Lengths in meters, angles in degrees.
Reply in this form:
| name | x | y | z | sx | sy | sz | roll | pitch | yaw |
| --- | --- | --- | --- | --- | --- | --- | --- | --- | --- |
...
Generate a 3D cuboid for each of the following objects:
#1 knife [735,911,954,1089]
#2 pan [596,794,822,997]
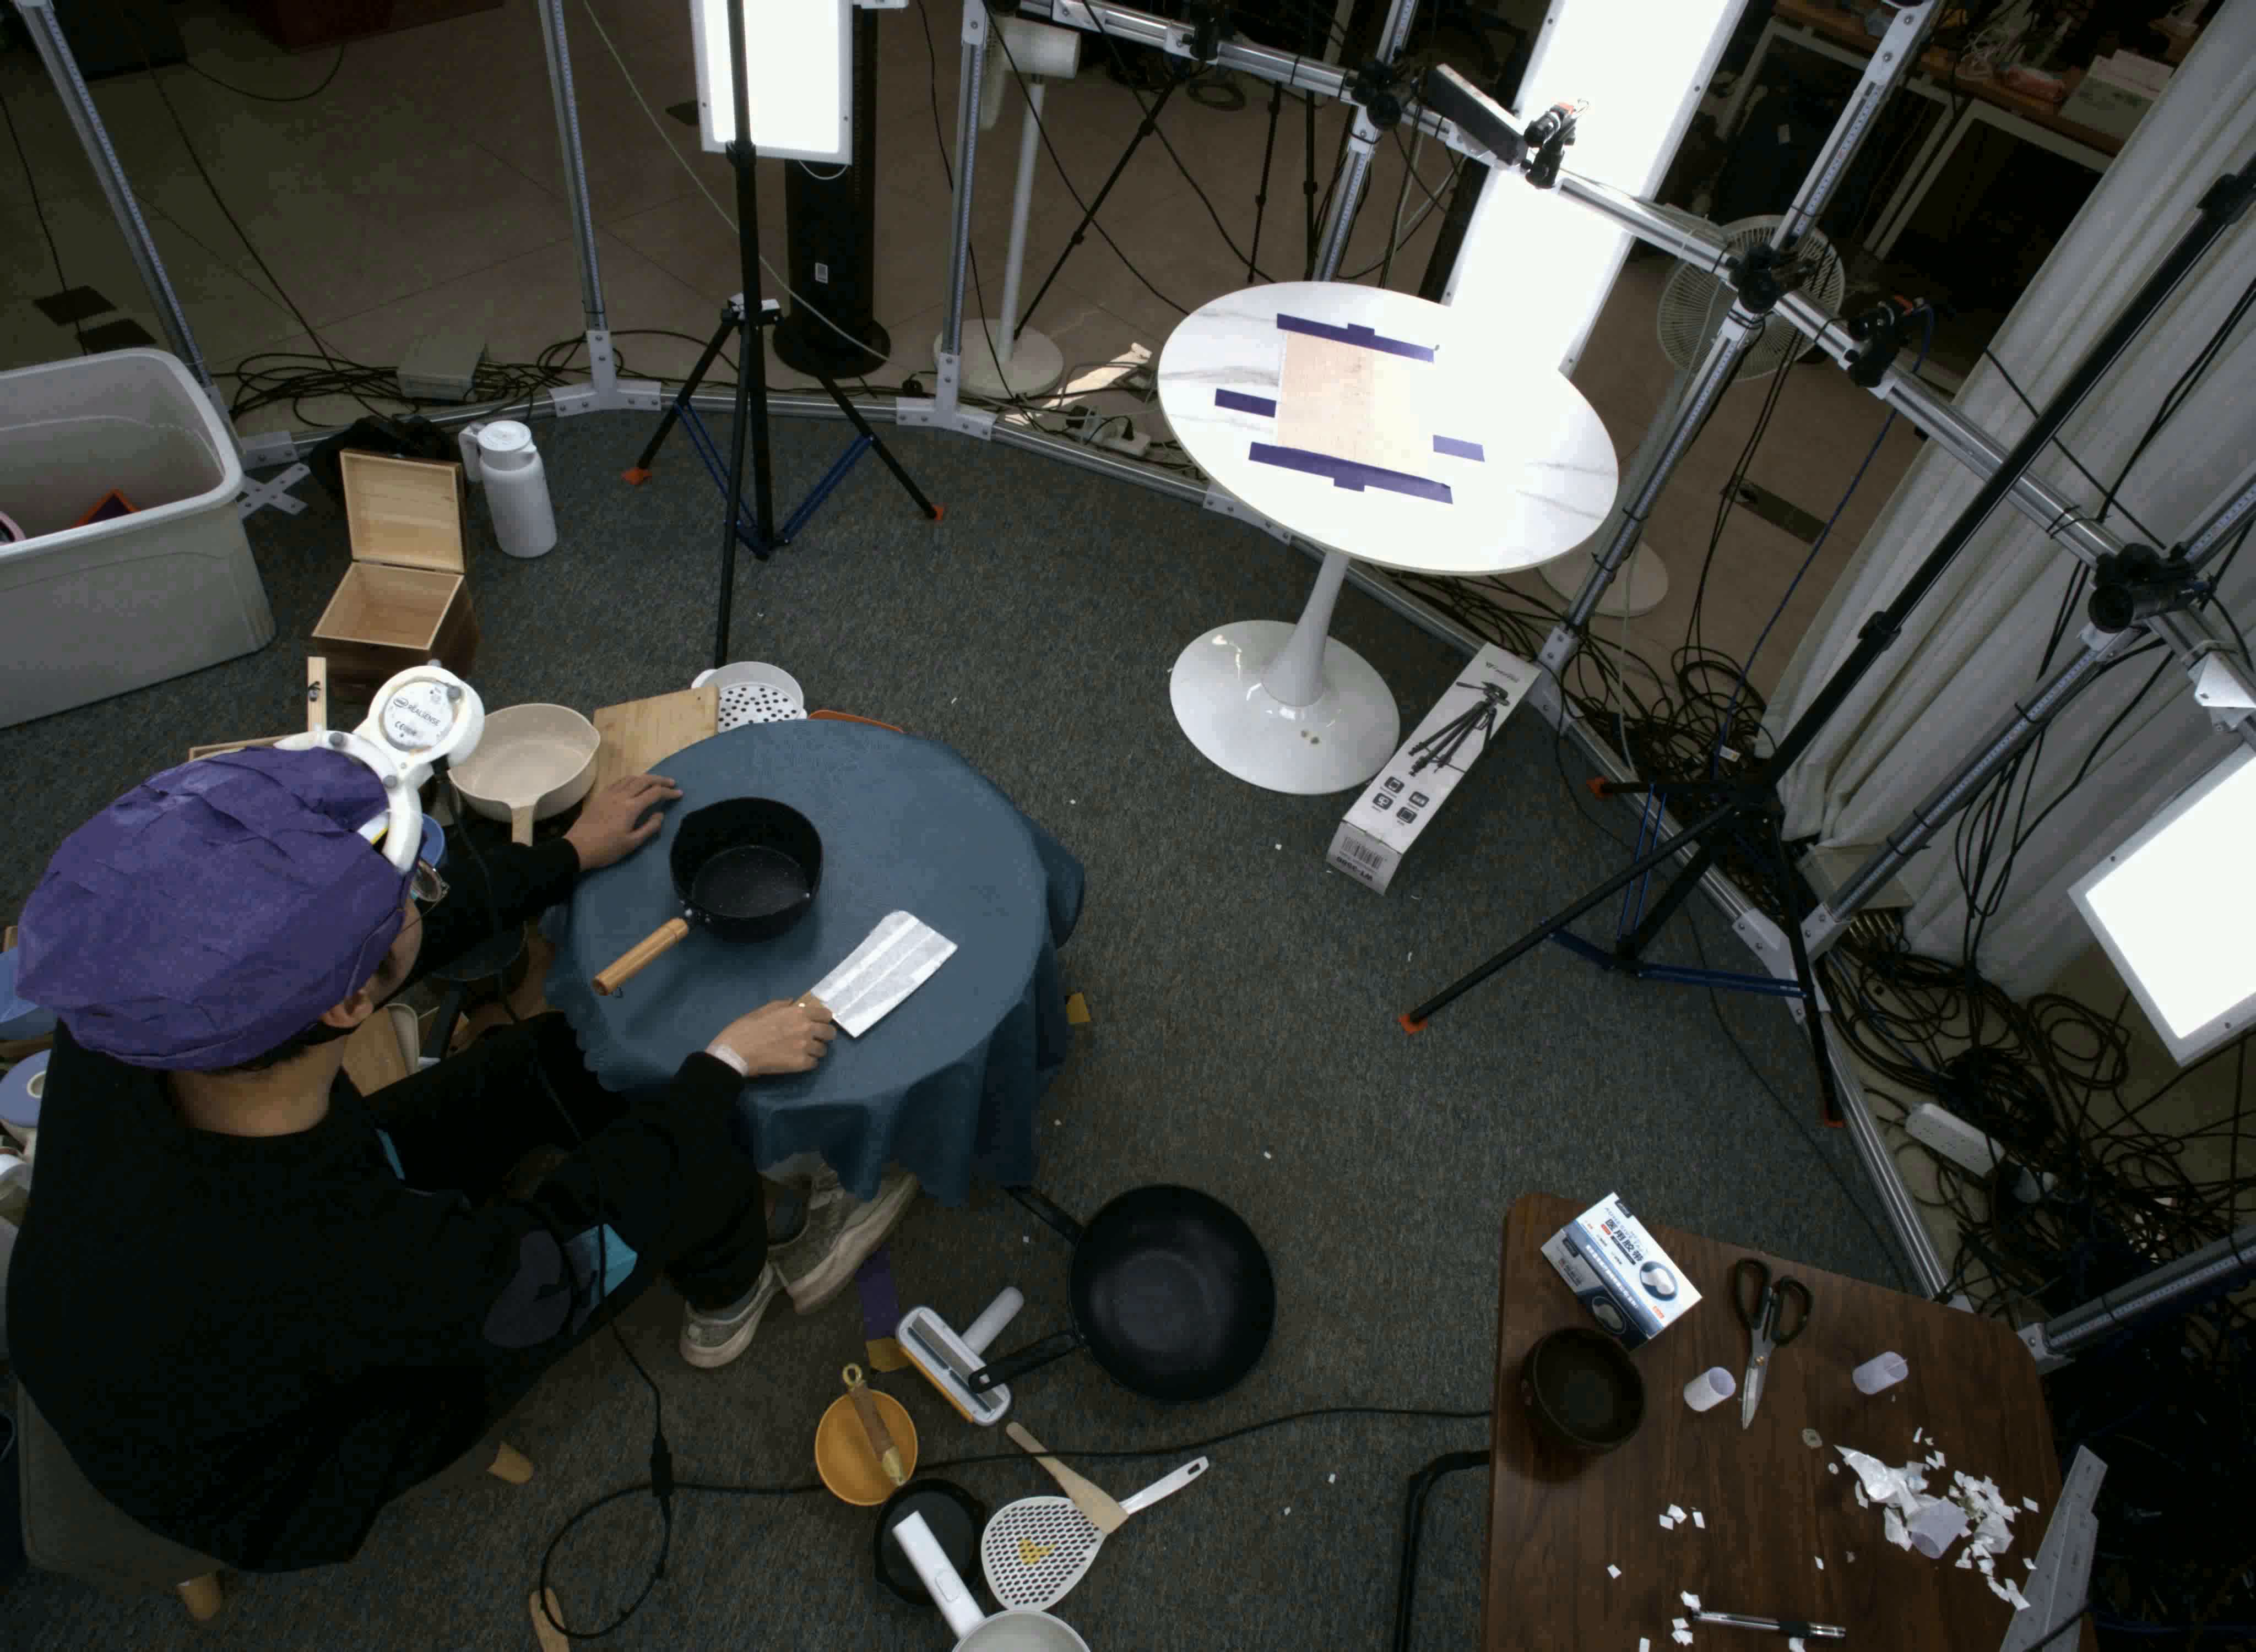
| name | x | y | z | sx | sy | sz | roll | pitch | yaw |
| --- | --- | --- | --- | --- | --- | --- | --- | --- | --- |
| knife | -0.345 | 0.205 | 1.569 | 0.111 | 0.022 | 0.316 | 39 | 51 | 15 |
| pan | -0.507 | 0.102 | 1.544 | 0.204 | 0.110 | 0.341 | 30 | 51 | 8 |
